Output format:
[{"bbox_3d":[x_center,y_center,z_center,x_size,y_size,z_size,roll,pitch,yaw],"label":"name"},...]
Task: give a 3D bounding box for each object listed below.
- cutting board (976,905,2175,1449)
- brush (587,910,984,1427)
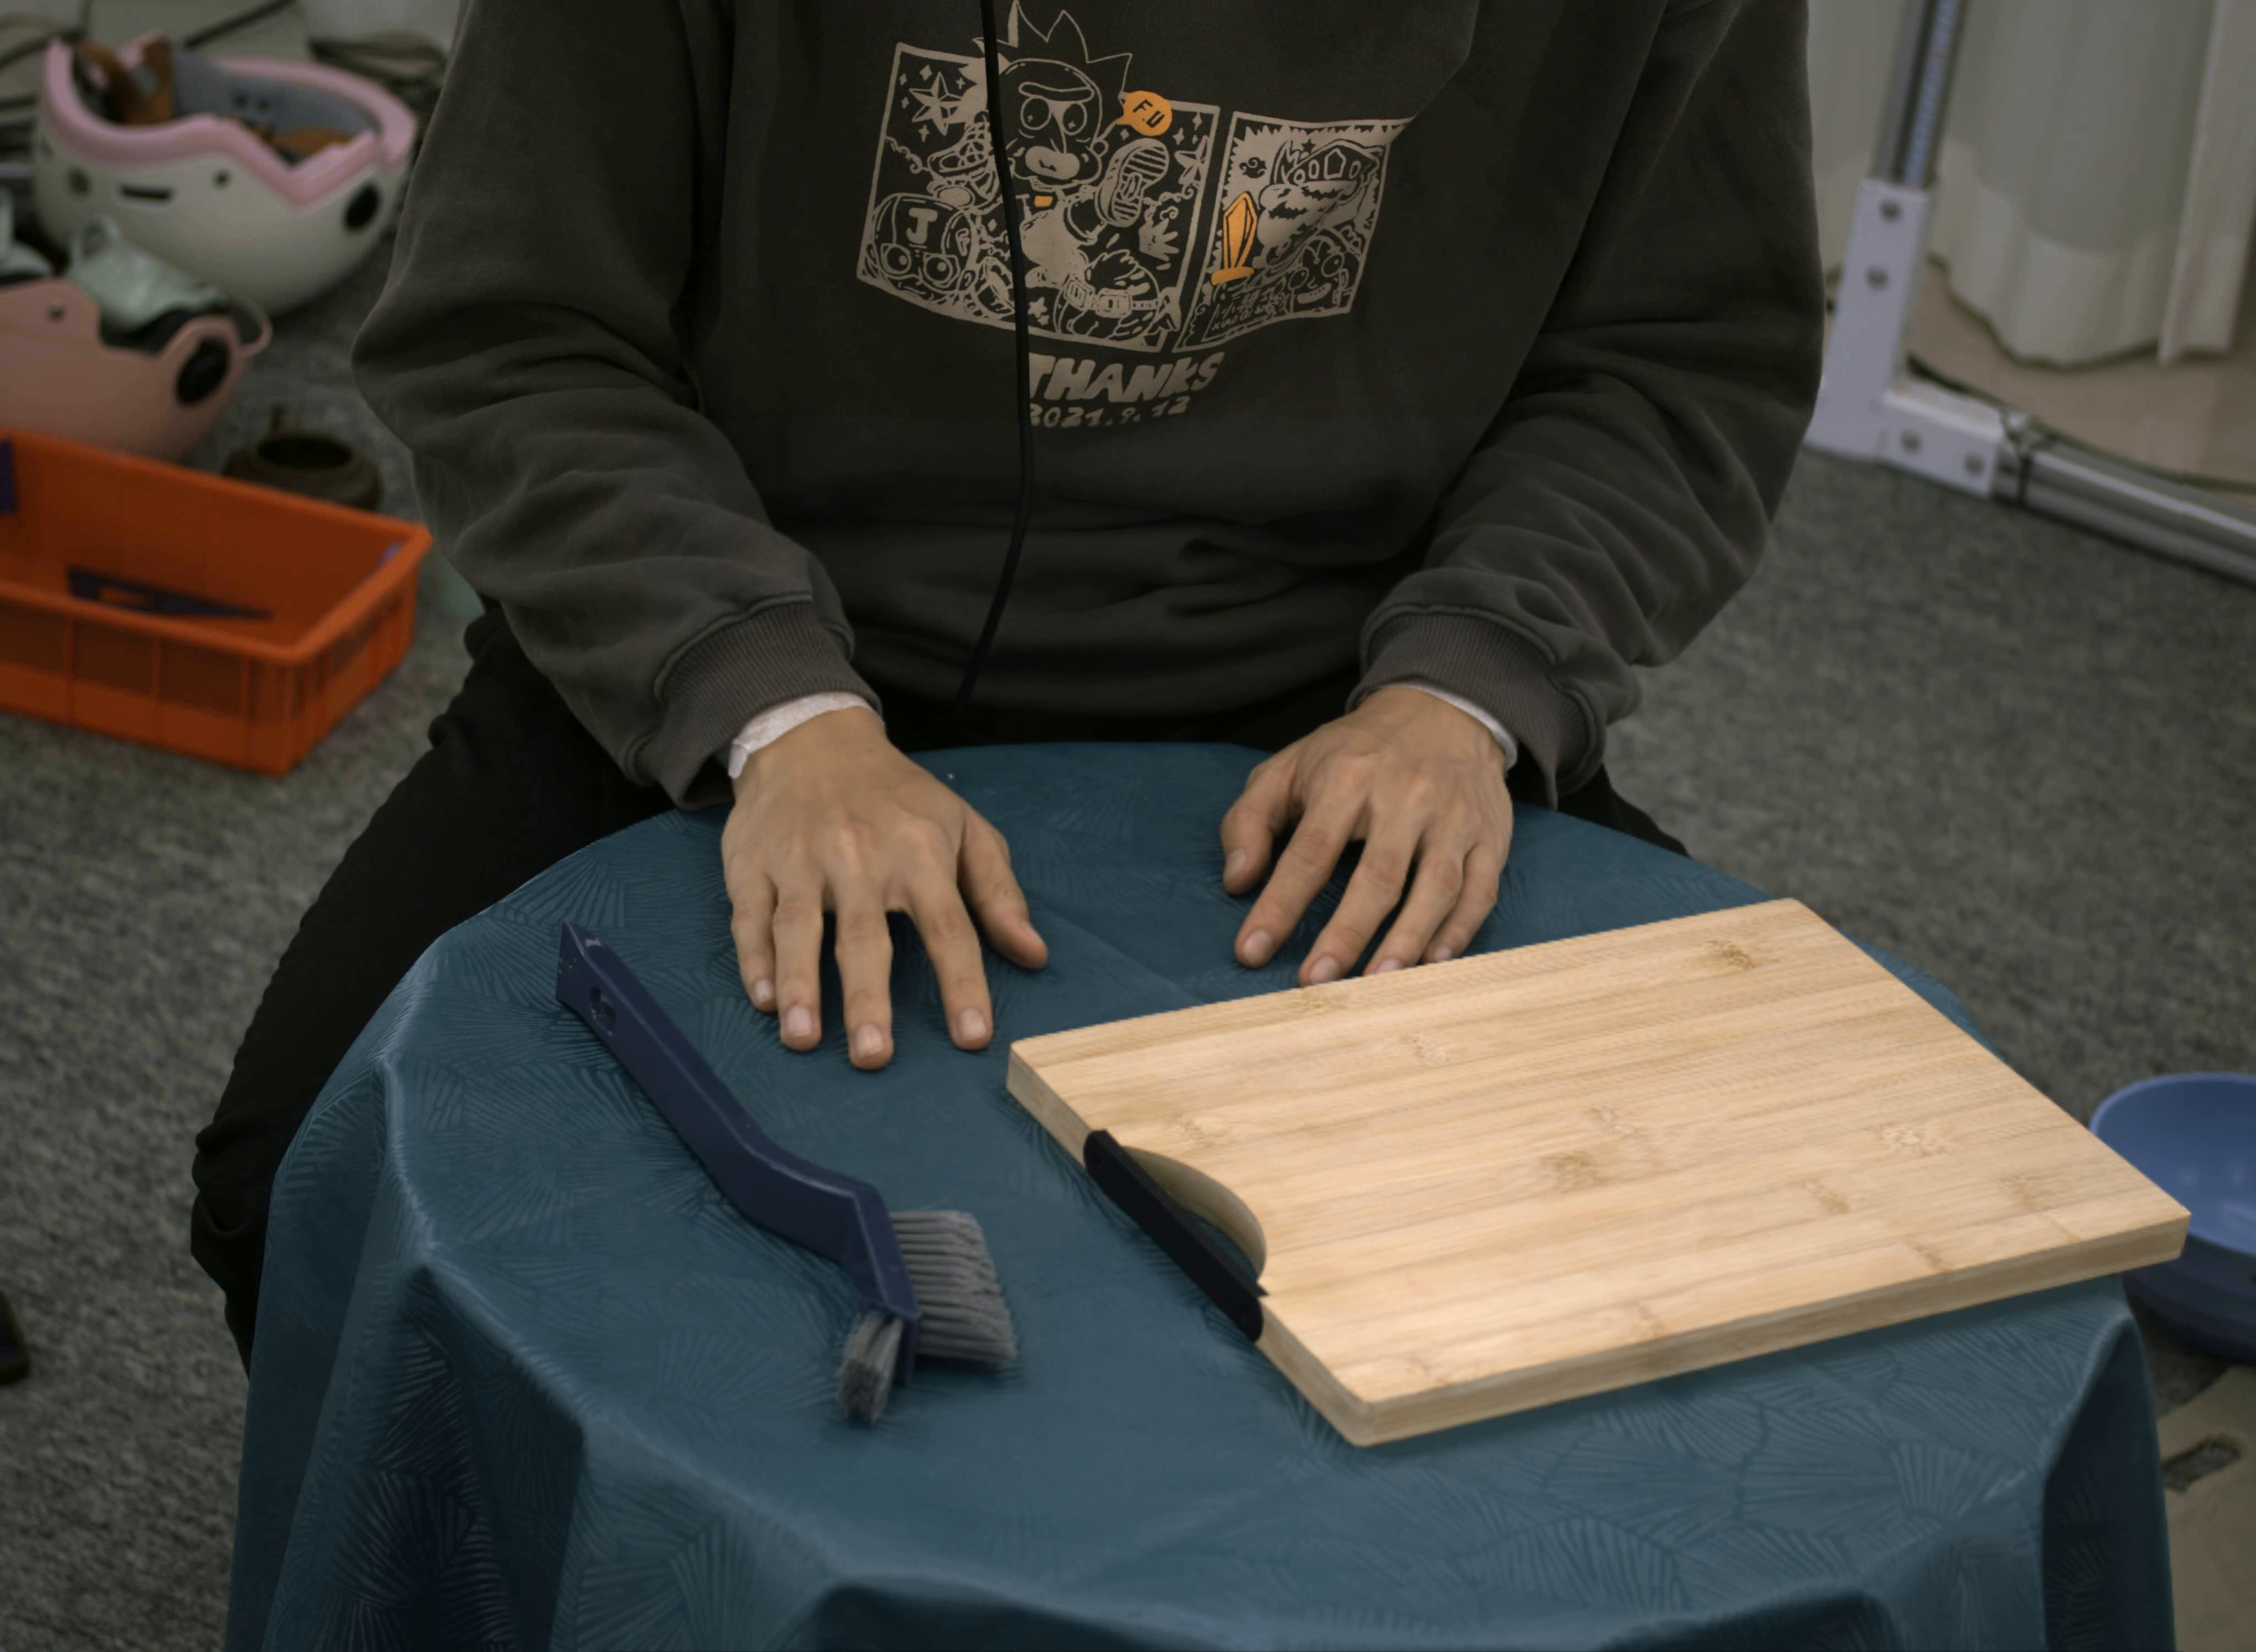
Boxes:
[{"bbox_3d":[0.155,0.114,1.840,0.346,0.023,0.253,-9,30,-29],"label":"cutting board"},{"bbox_3d":[-0.134,0.109,1.769,0.095,0.033,0.275,-13,33,-34],"label":"brush"}]
